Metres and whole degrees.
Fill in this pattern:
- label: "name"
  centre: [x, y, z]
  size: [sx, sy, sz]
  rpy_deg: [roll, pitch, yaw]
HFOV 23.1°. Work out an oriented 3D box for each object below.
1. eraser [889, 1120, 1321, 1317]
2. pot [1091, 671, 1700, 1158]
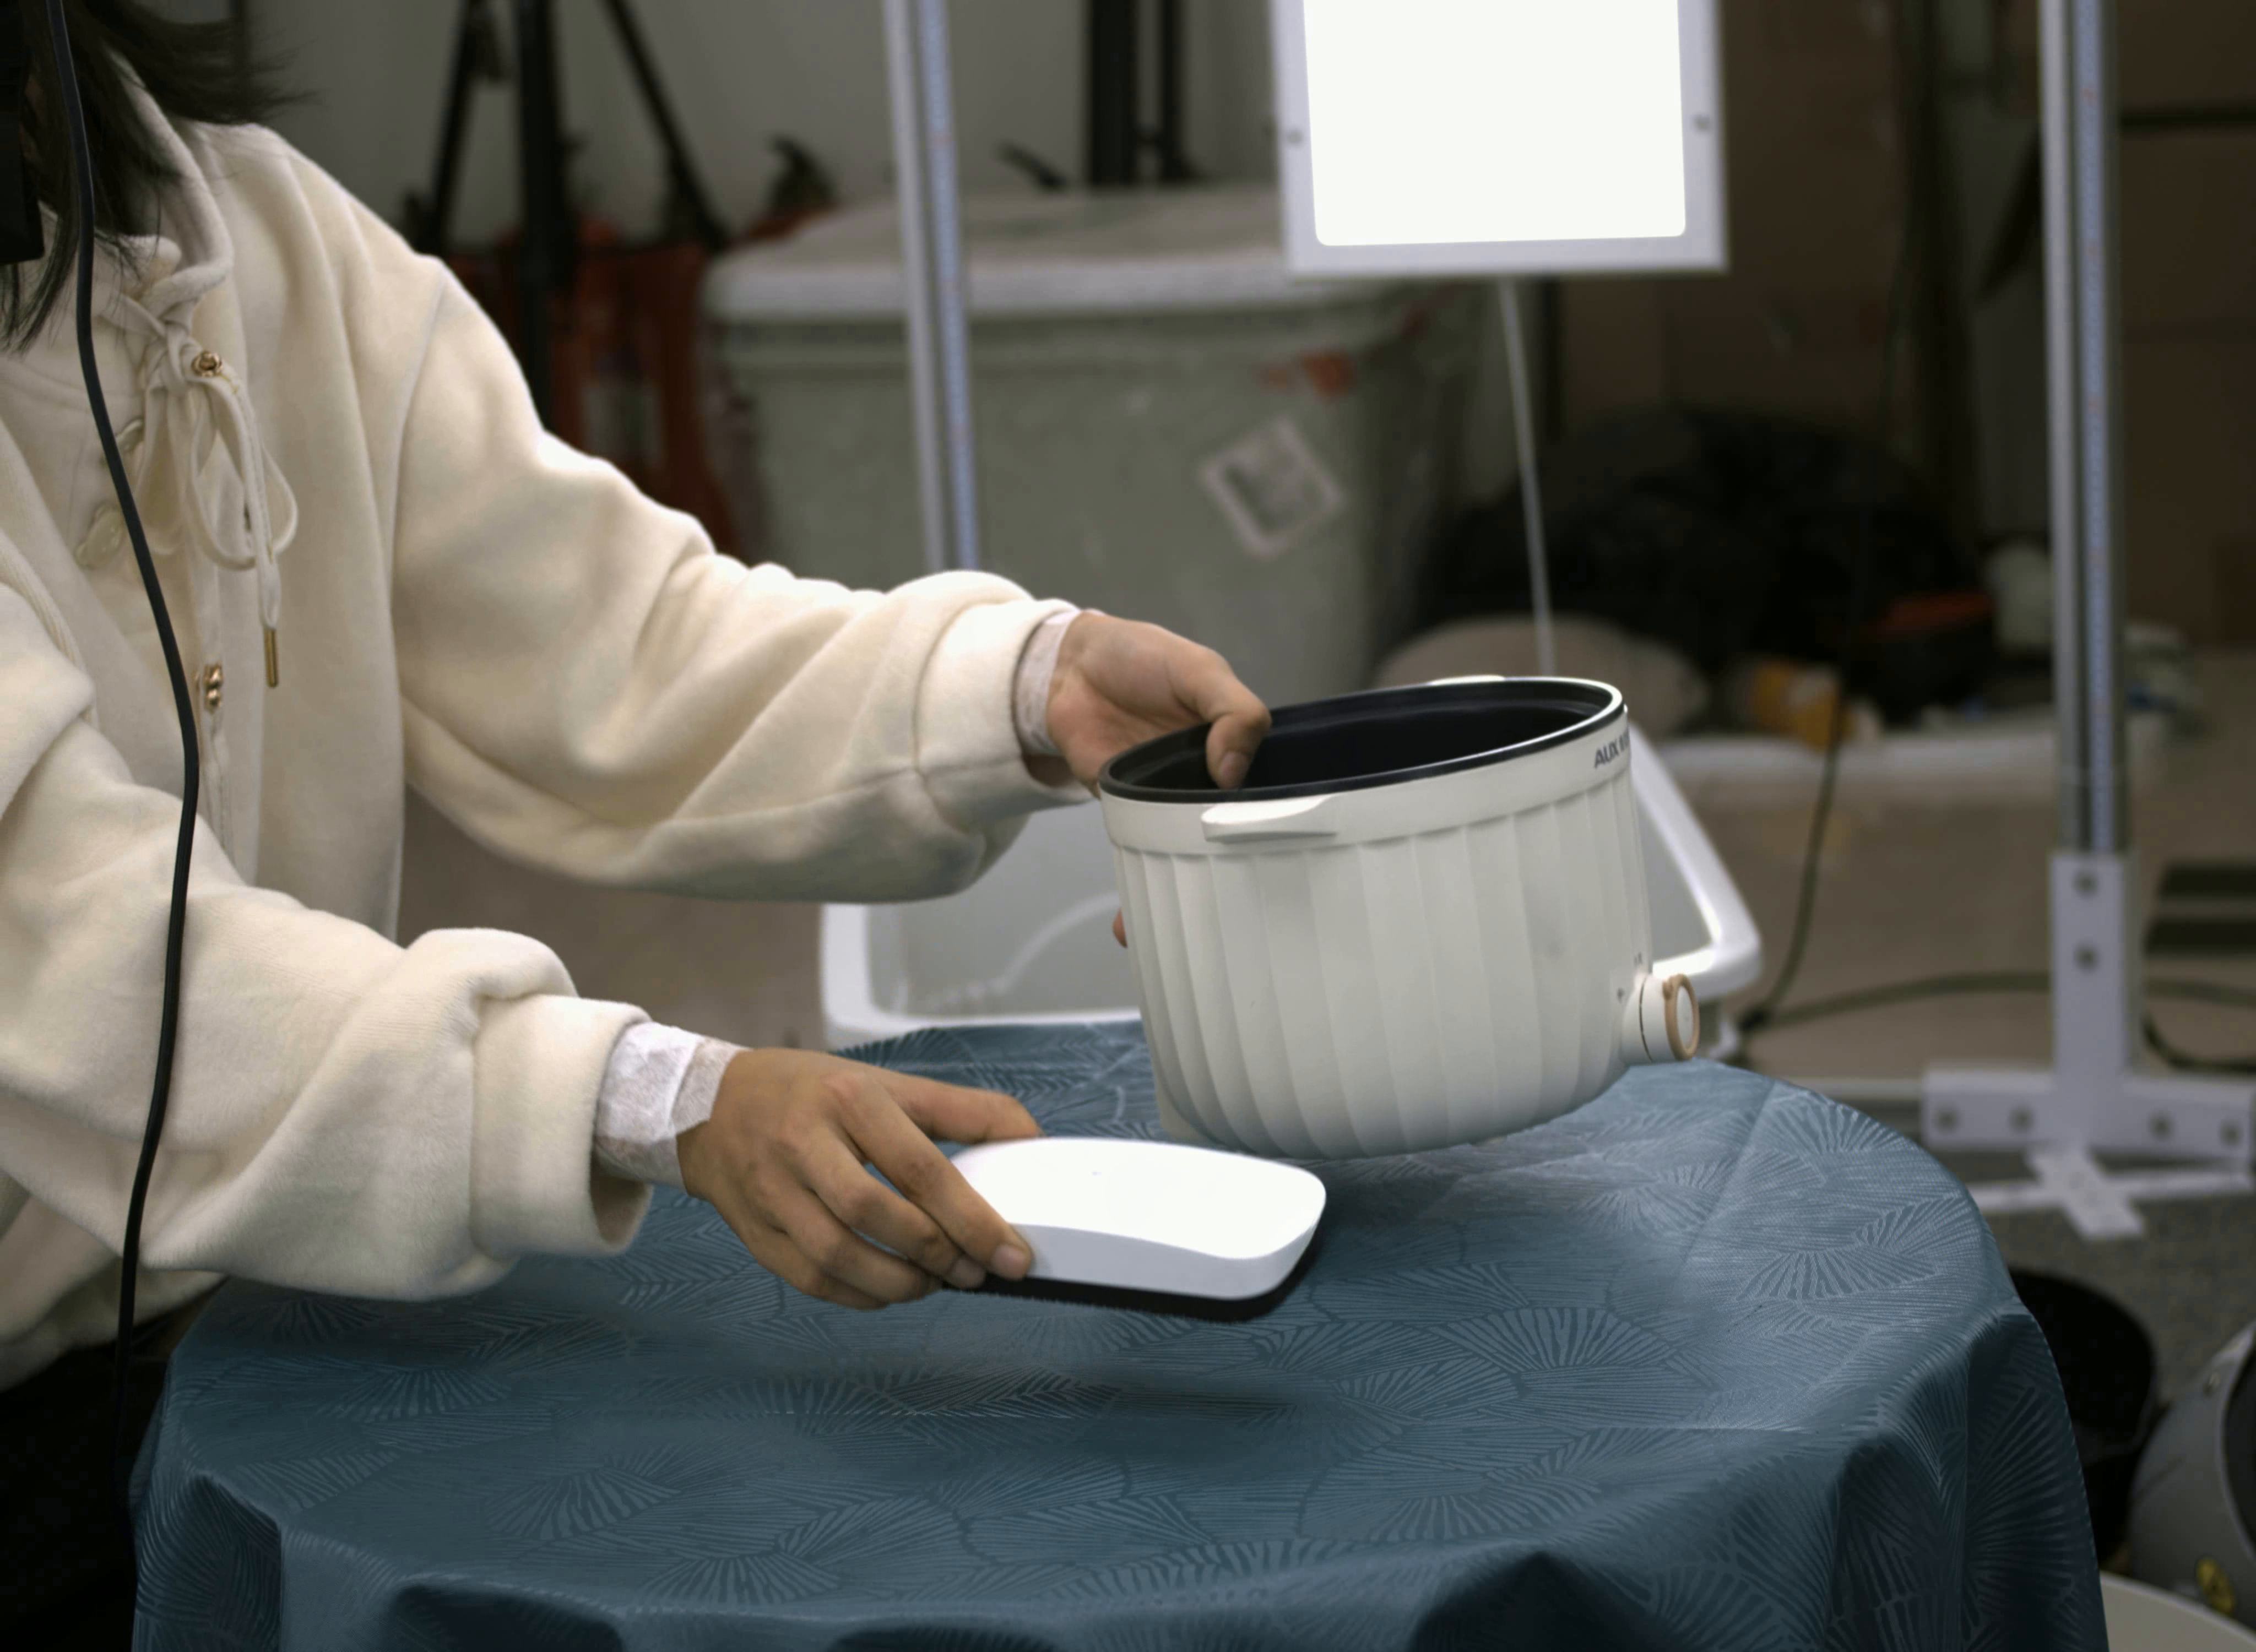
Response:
- label: "eraser"
  centre: [-0.006, 0.120, 1.693]
  size: [0.133, 0.034, 0.062]
  rpy_deg: [4, 23, 28]
- label: "pot"
  centre: [0.093, 0.031, 1.871]
  size: [0.193, 0.143, 0.236]
  rpy_deg: [-9, 10, 23]
